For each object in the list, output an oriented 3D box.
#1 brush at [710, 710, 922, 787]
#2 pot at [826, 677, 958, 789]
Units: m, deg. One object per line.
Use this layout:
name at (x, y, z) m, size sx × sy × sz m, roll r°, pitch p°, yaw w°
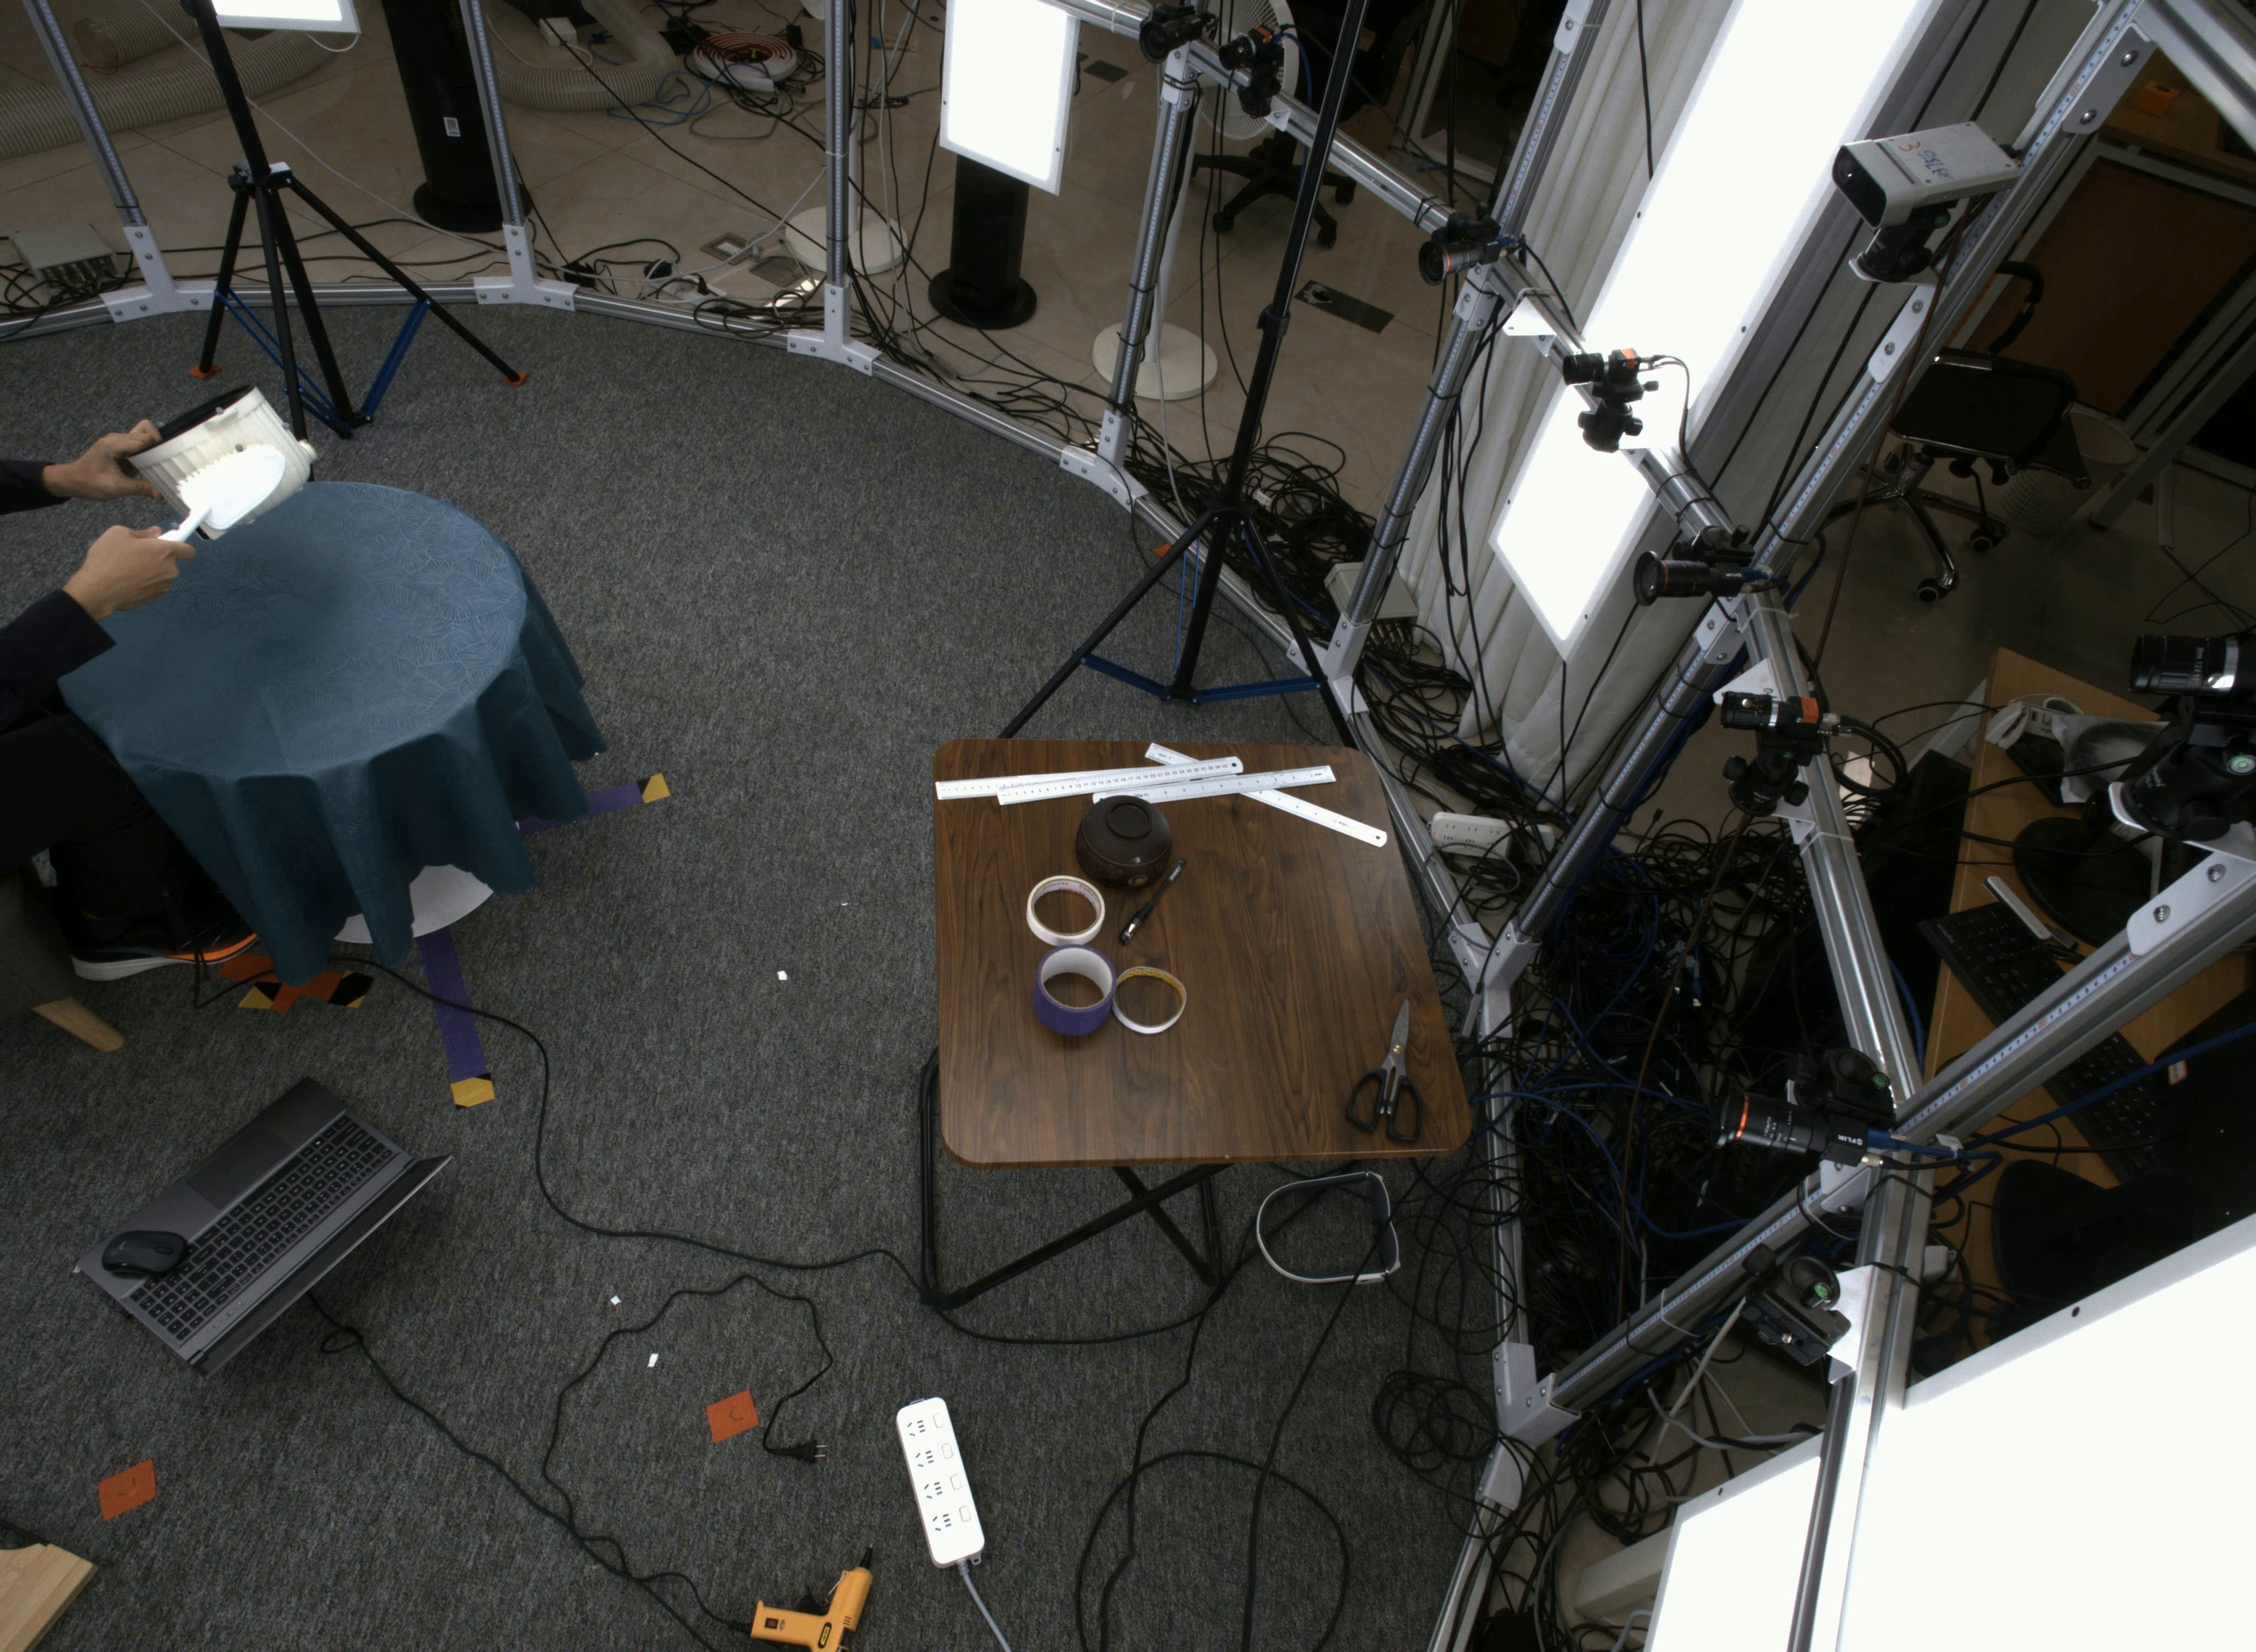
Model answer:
brush at (-0.464, -0.113, 1.932) m, size 0.326 × 0.087 × 0.080 m, roll -18°, pitch 54°, yaw -21°
pot at (-0.378, -0.145, 2.096) m, size 0.192 × 0.144 × 0.236 m, roll -15°, pitch -2°, yaw -27°
